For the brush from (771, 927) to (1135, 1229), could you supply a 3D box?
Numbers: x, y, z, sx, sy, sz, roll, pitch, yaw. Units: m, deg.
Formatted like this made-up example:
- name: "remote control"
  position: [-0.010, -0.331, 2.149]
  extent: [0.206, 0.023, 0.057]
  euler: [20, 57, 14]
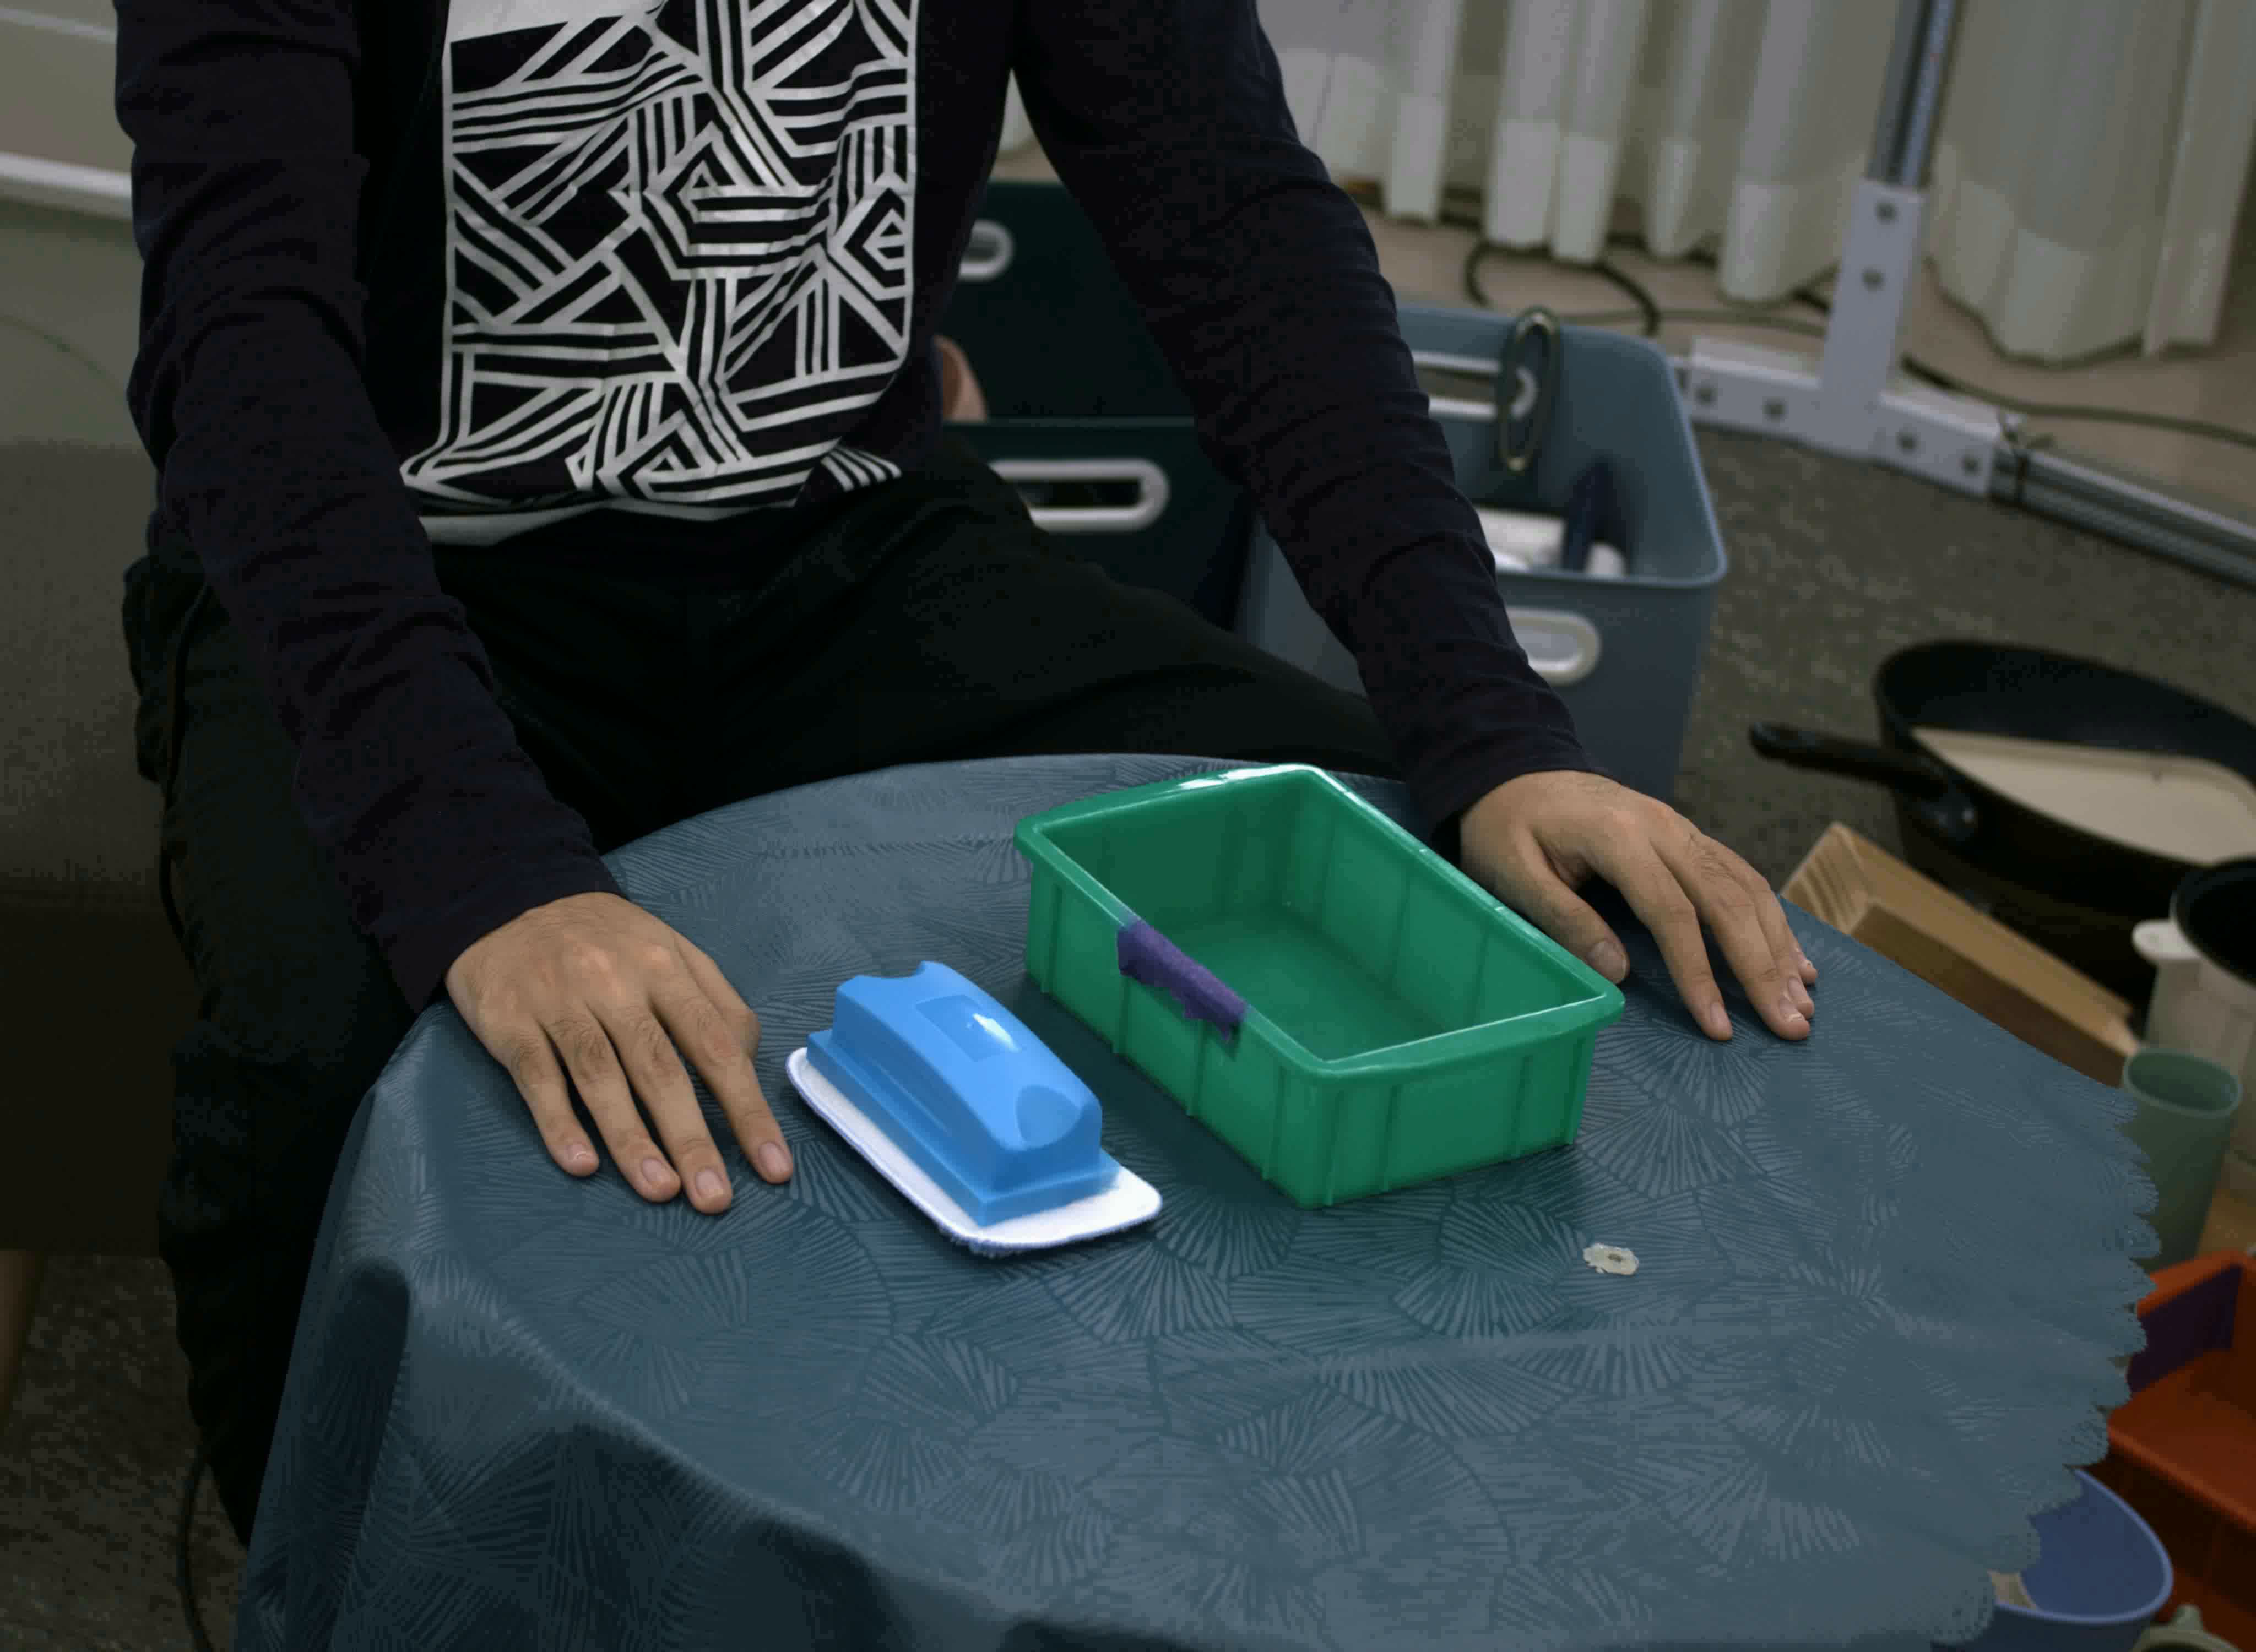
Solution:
- name: "brush"
  position: [-0.057, 0.080, 1.805]
  extent: [0.083, 0.056, 0.145]
  euler: [-8, 36, -30]

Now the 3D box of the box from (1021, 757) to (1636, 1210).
- name: "box"
  position: [0.066, 0.056, 1.886]
  extent: [0.138, 0.065, 0.212]
  euler: [-15, 34, -31]
